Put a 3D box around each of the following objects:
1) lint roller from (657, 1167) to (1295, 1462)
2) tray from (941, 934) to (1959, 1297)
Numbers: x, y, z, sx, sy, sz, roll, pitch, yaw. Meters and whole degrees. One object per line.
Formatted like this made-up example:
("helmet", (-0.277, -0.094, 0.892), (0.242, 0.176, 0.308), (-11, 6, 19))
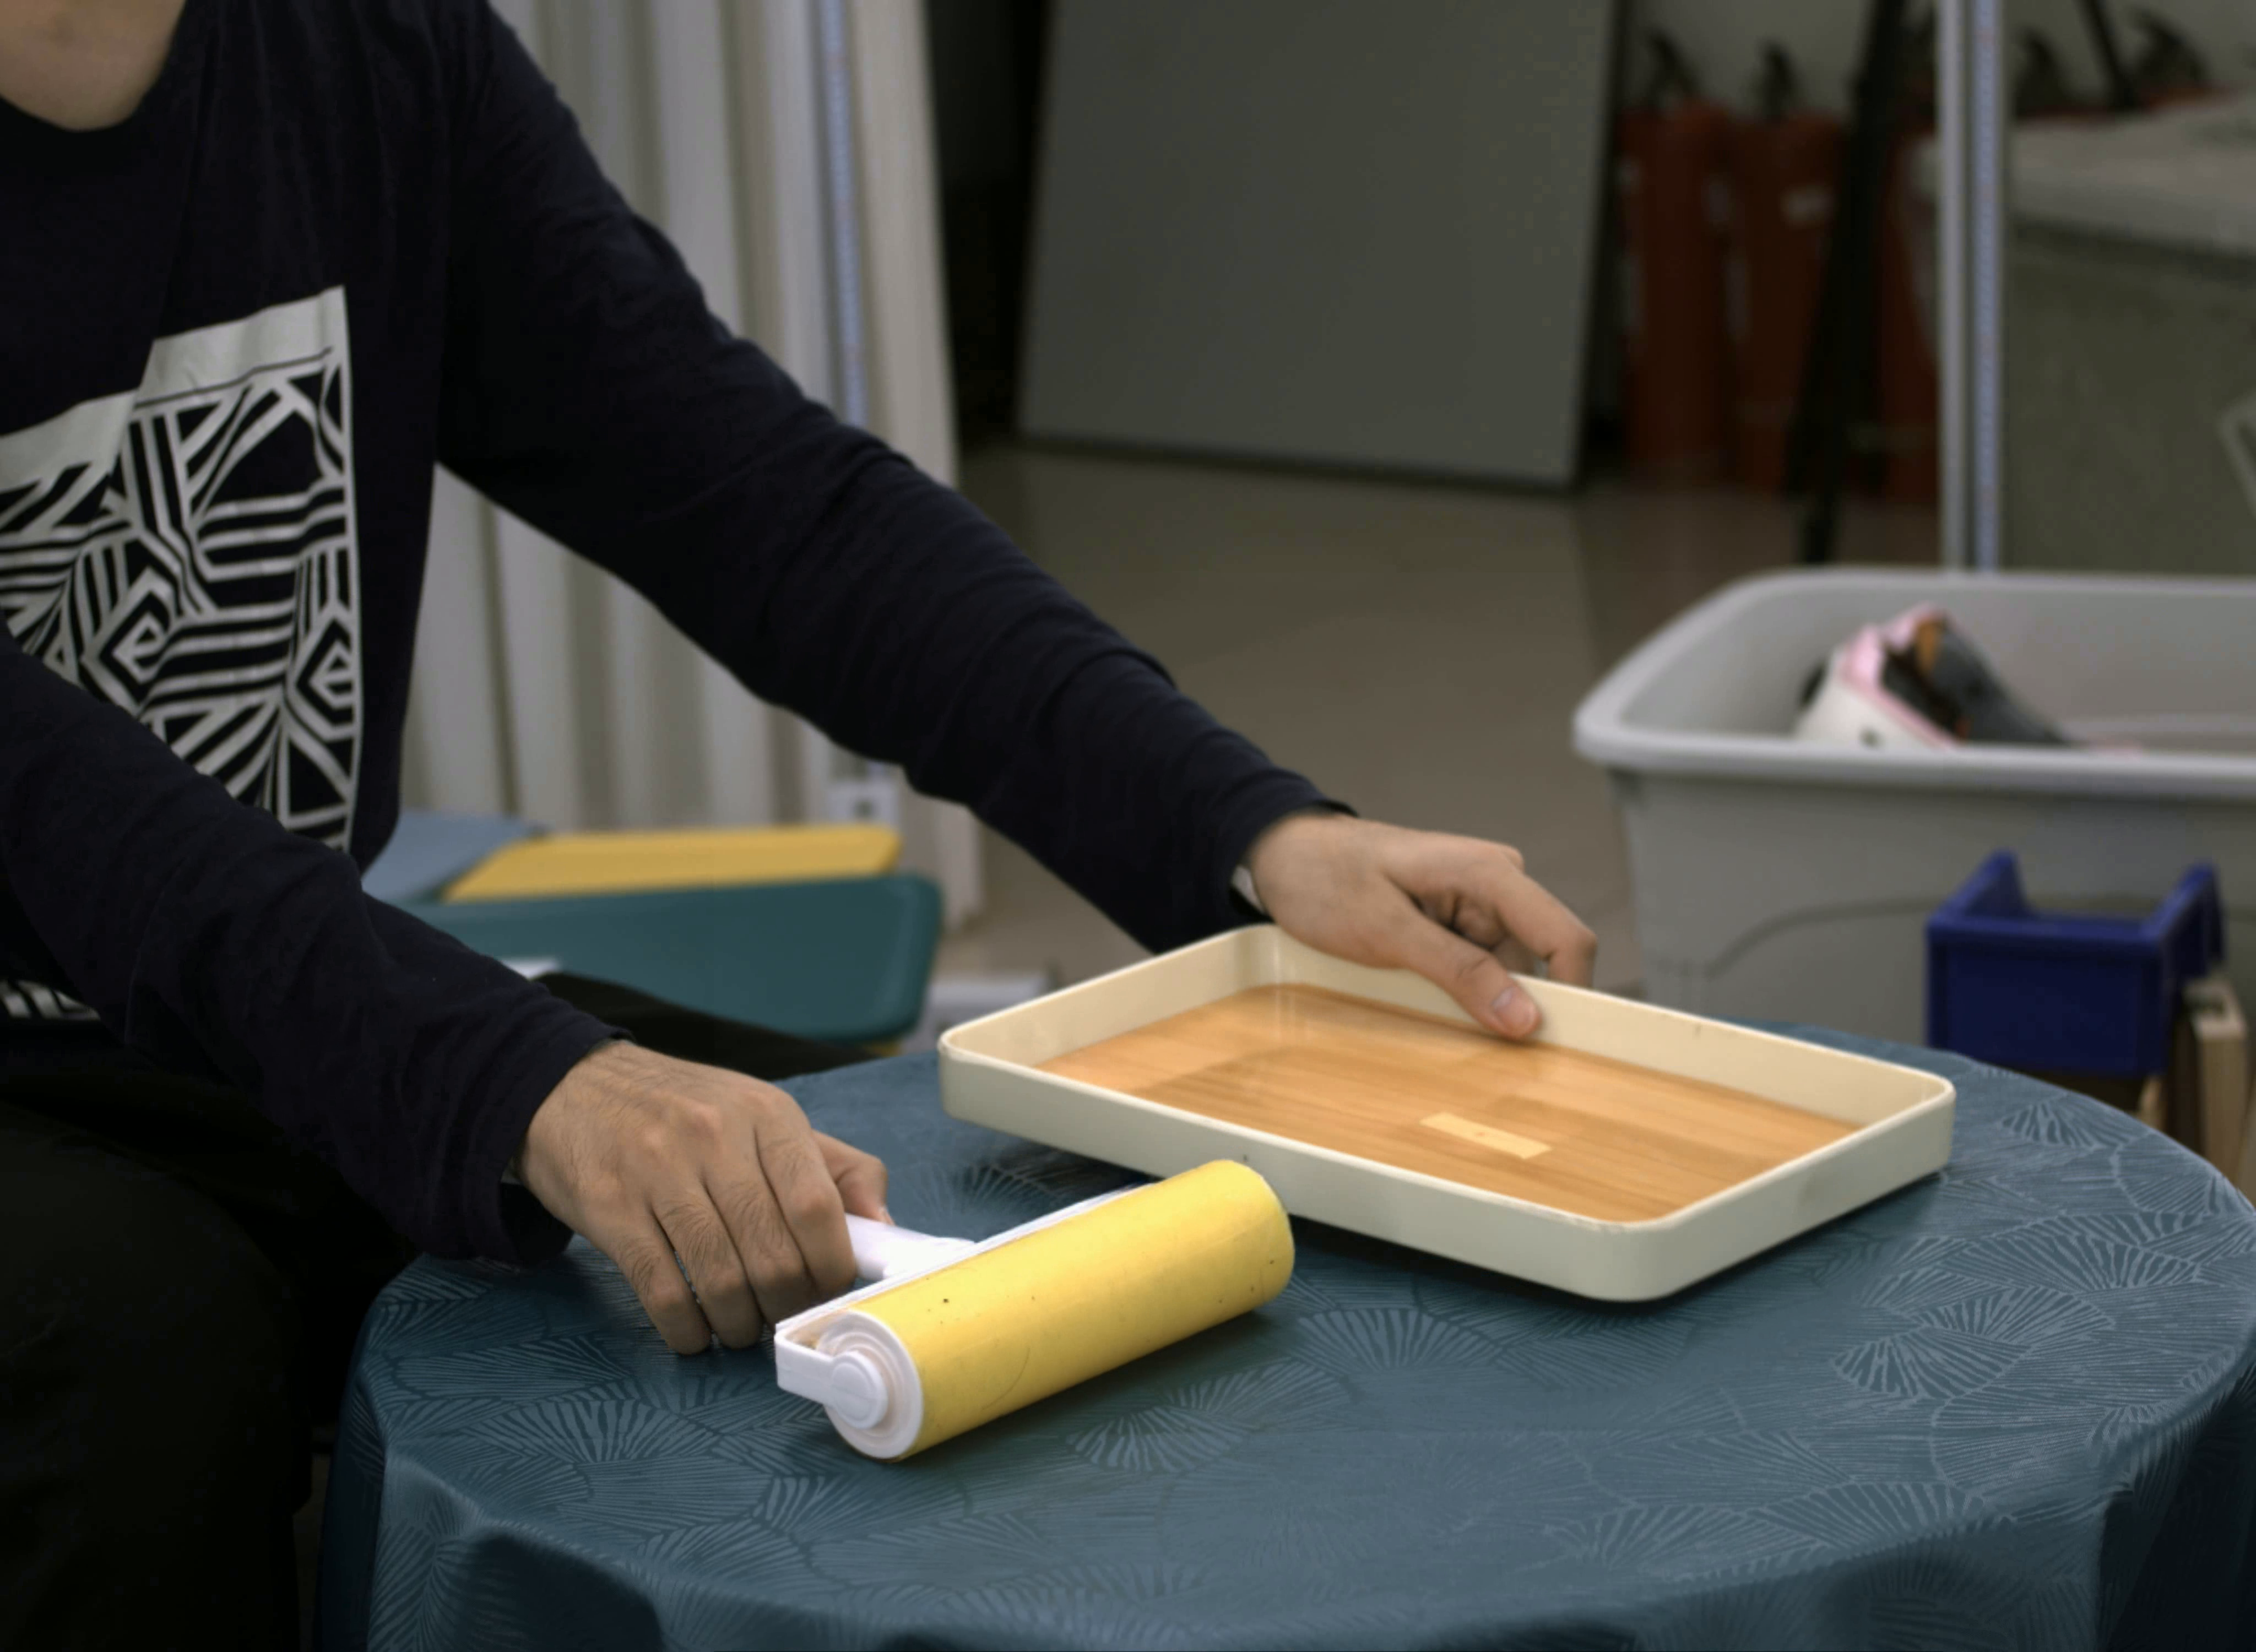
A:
("lint roller", (-0.072, 0.125, 1.637), (0.194, 0.052, 0.171), (21, 26, 39))
("tray", (0.103, 0.091, 1.768), (0.303, 0.028, 0.188), (12, 19, 41))
